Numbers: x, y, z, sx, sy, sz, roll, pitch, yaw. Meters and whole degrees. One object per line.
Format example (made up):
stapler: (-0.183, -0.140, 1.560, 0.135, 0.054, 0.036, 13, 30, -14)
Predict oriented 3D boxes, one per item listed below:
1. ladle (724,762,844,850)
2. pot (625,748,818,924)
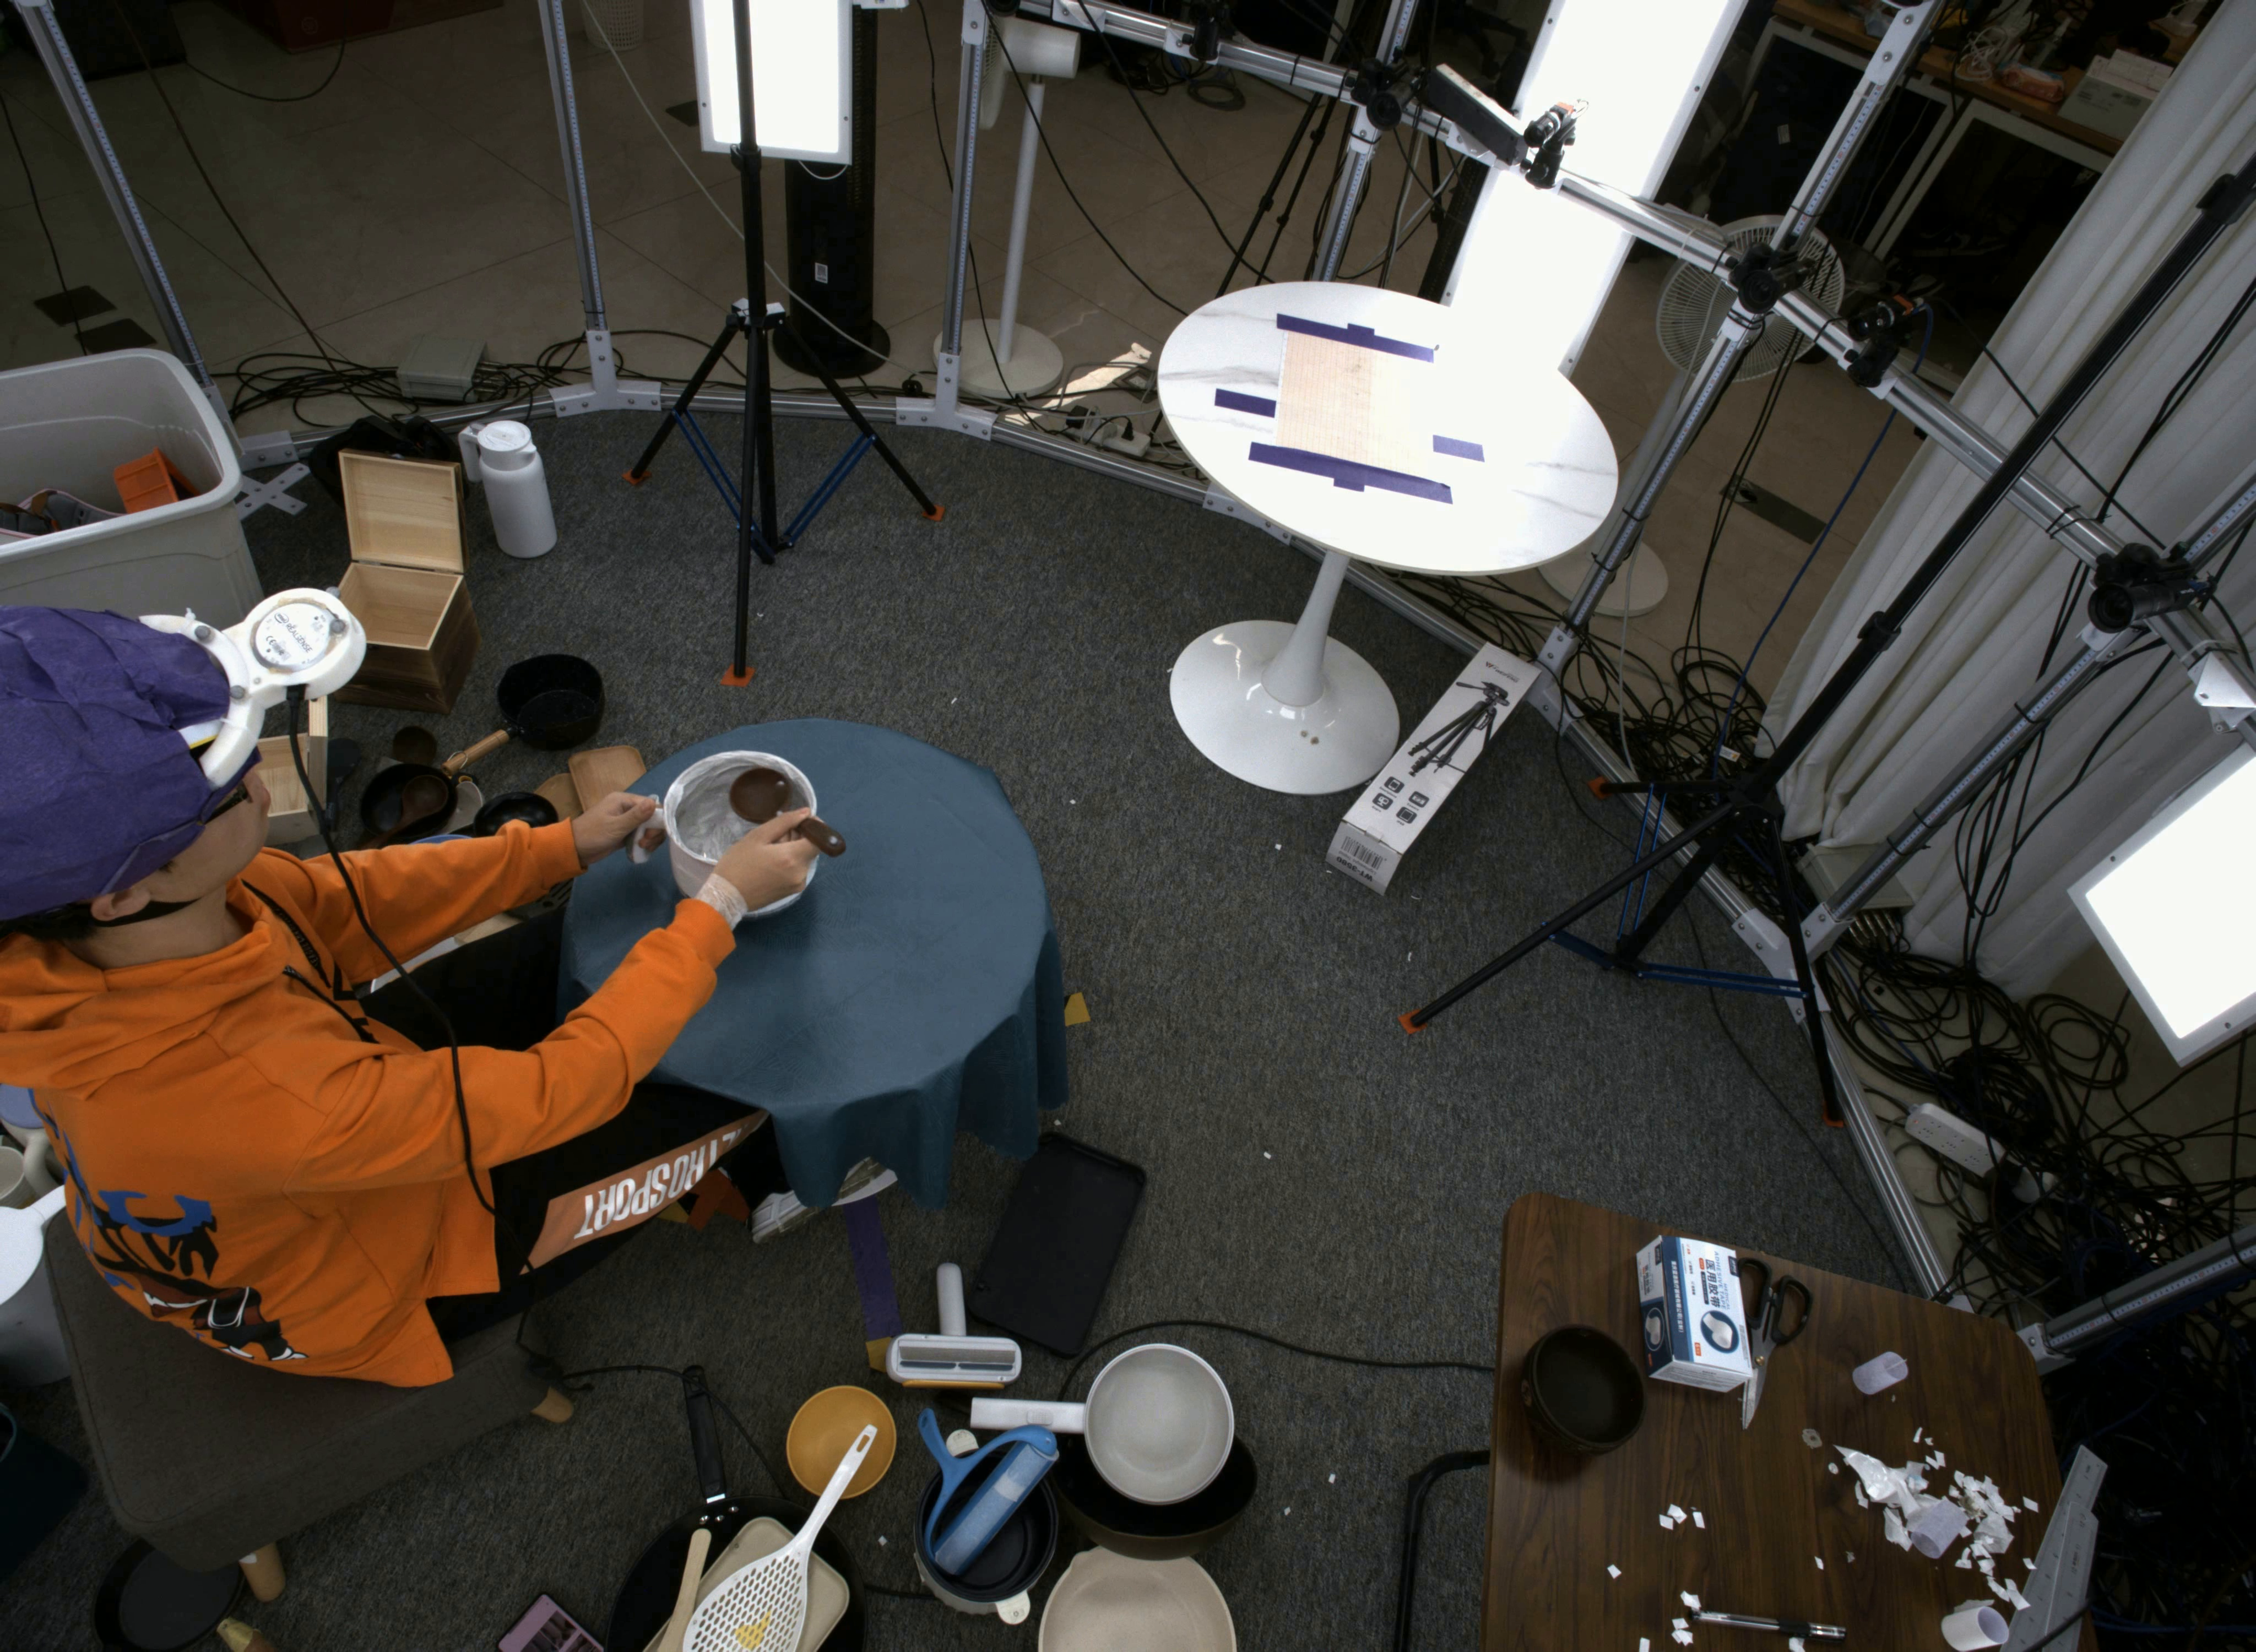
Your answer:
ladle: (-0.387, -0.024, 1.455, 0.076, 0.067, 0.251, -39, 28, -22)
pot: (-0.491, 0.014, 1.550, 0.233, 0.139, 0.175, 4, 51, -10)
